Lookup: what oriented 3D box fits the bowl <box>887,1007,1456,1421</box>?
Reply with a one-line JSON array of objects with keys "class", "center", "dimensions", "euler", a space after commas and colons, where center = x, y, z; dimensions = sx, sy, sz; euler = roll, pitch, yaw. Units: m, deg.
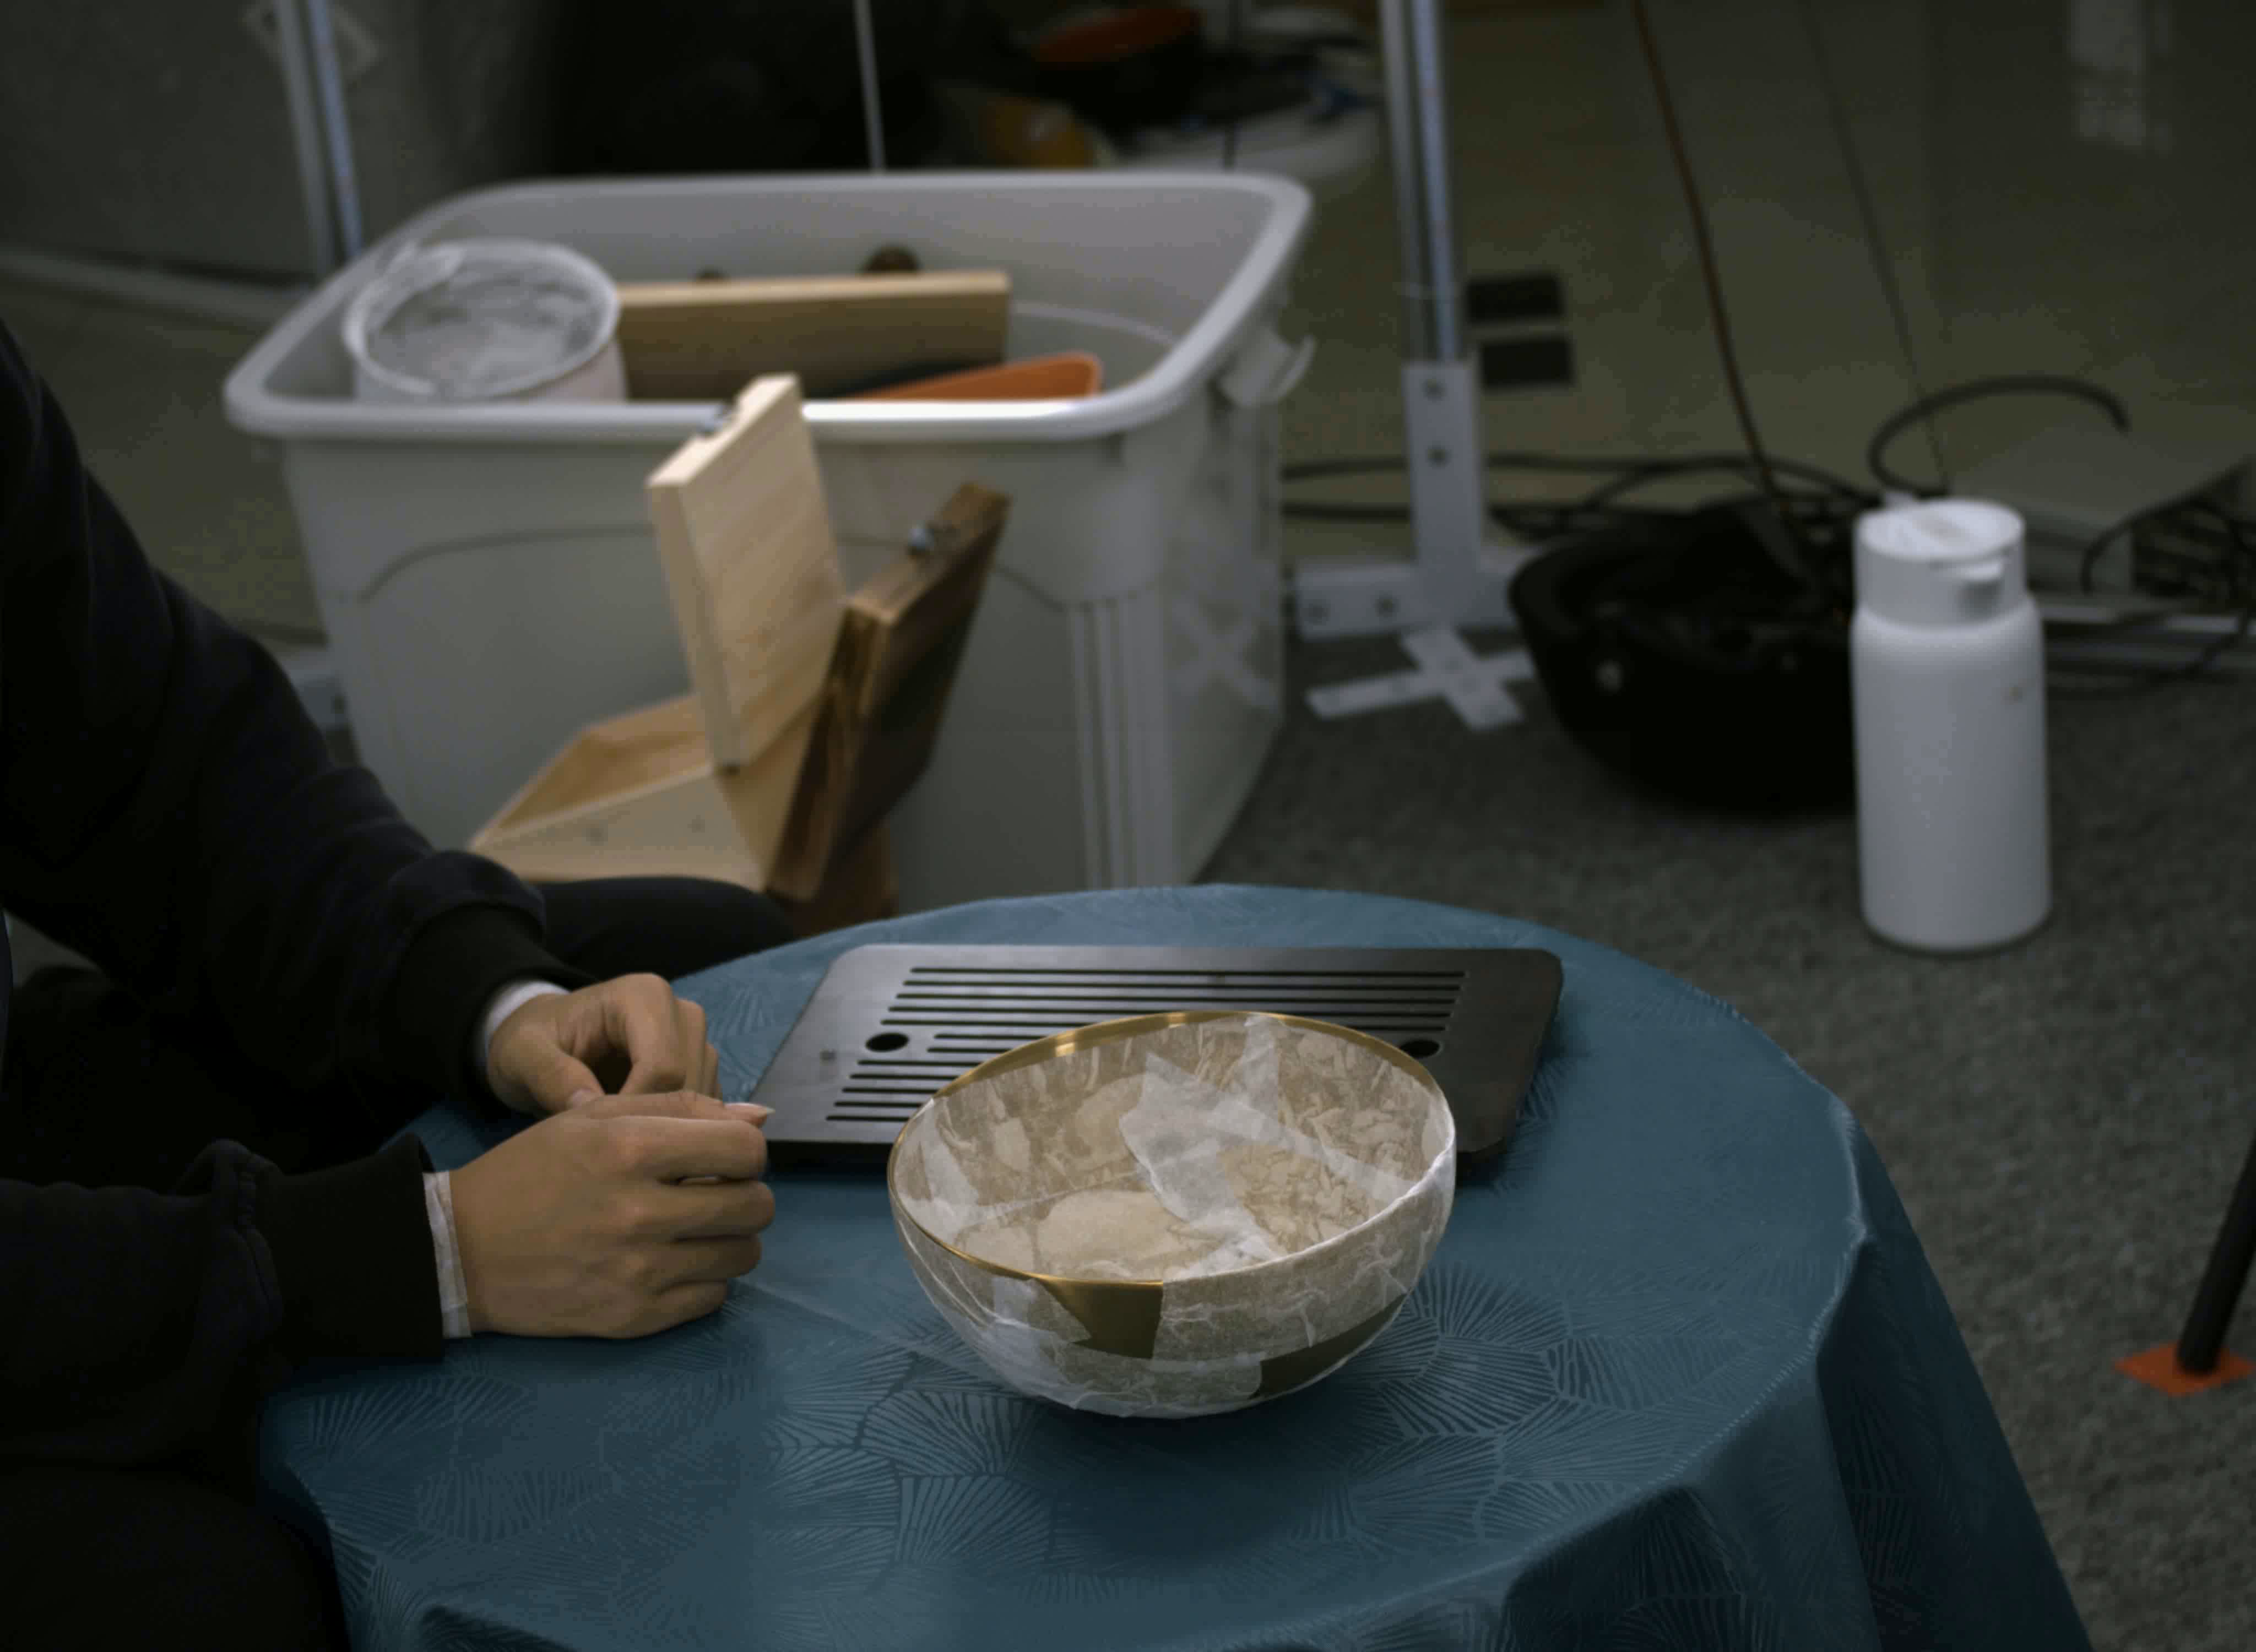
[{"class": "bowl", "center": [0.017, 0.149, 2.016], "dimensions": [0.214, 0.096, 0.211], "euler": [-6, 26, 3]}]

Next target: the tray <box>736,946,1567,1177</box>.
[{"class": "tray", "center": [0.012, 0.092, 2.230], "dimensions": [0.305, 0.019, 0.168], "euler": [0, 26, 14]}]
